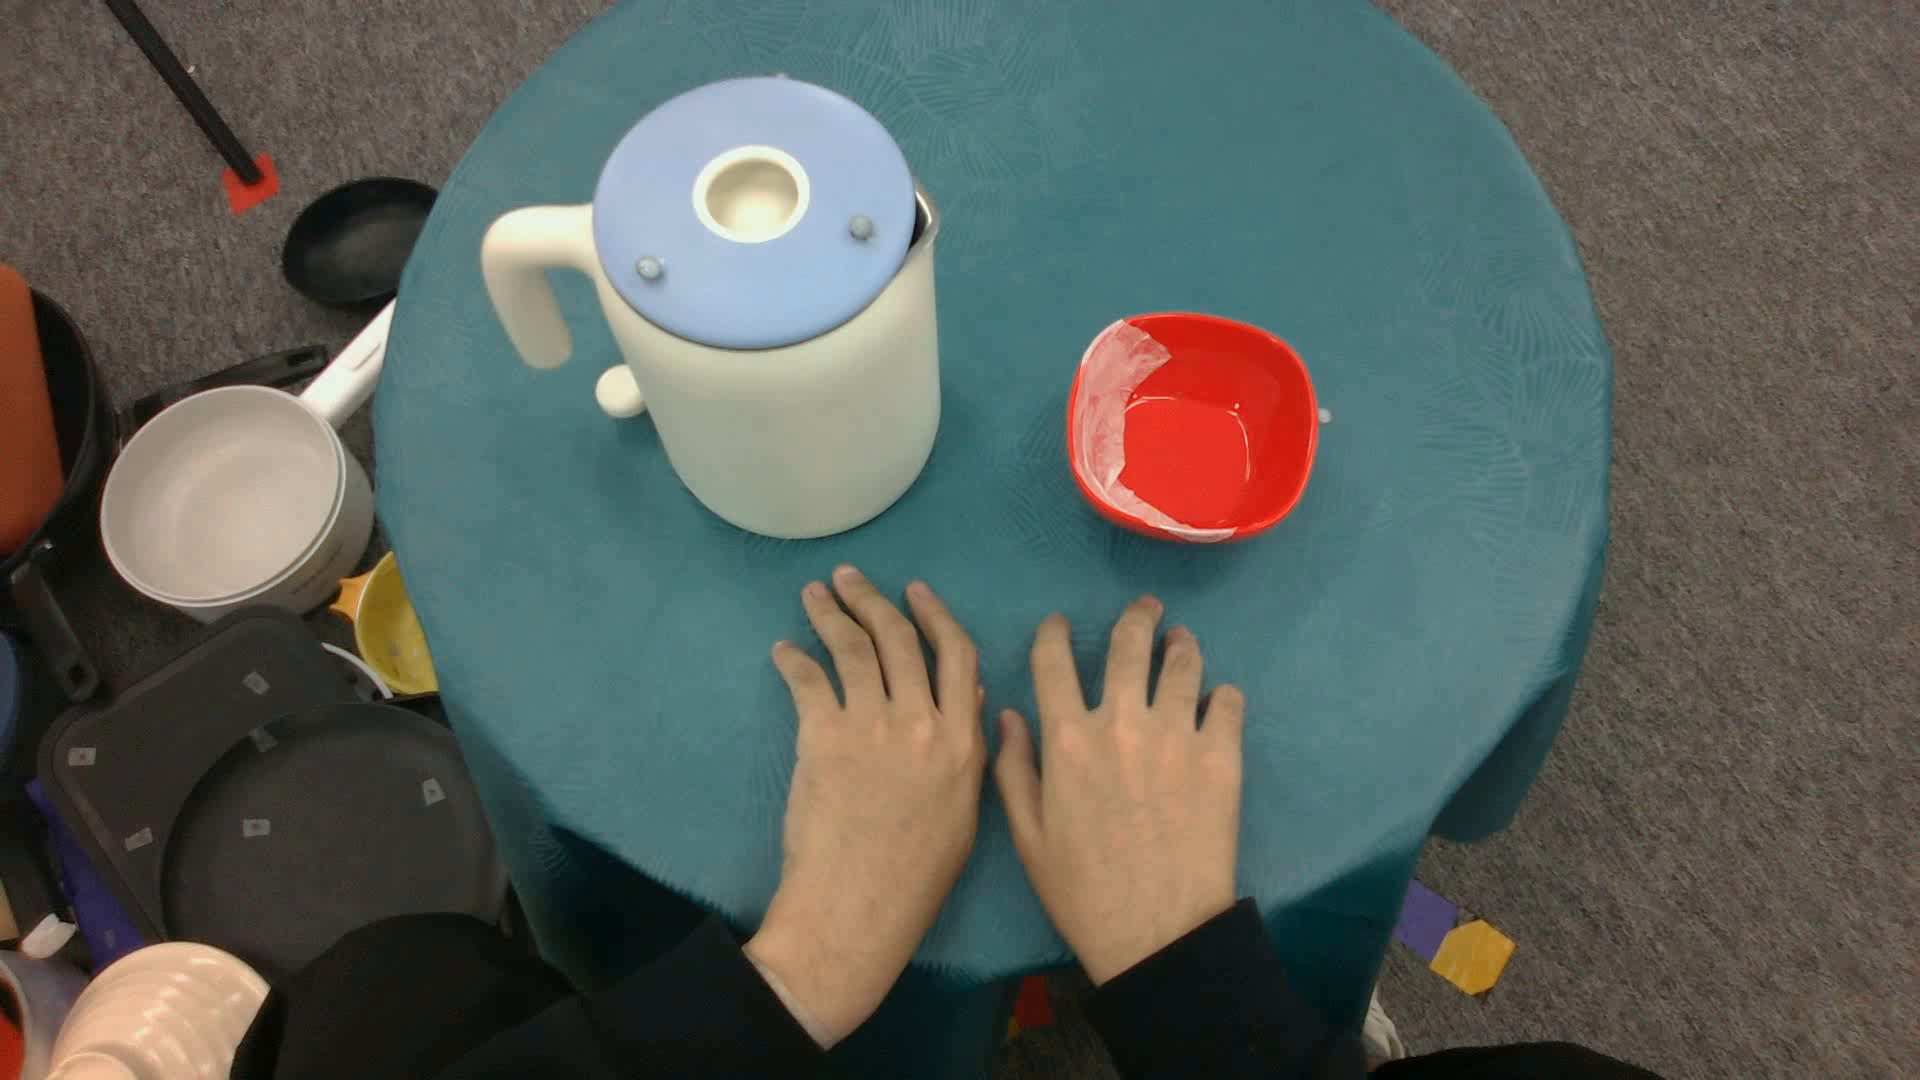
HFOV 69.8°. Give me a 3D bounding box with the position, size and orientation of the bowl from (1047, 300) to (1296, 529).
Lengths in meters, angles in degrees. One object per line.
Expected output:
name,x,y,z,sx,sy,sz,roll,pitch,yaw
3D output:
bowl,0.093,-0.049,0.630,0.119,0.051,0.119,1,65,-3

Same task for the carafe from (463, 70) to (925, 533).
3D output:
carafe,-0.107,-0.094,0.584,0.191,0.182,0.132,0,66,2
